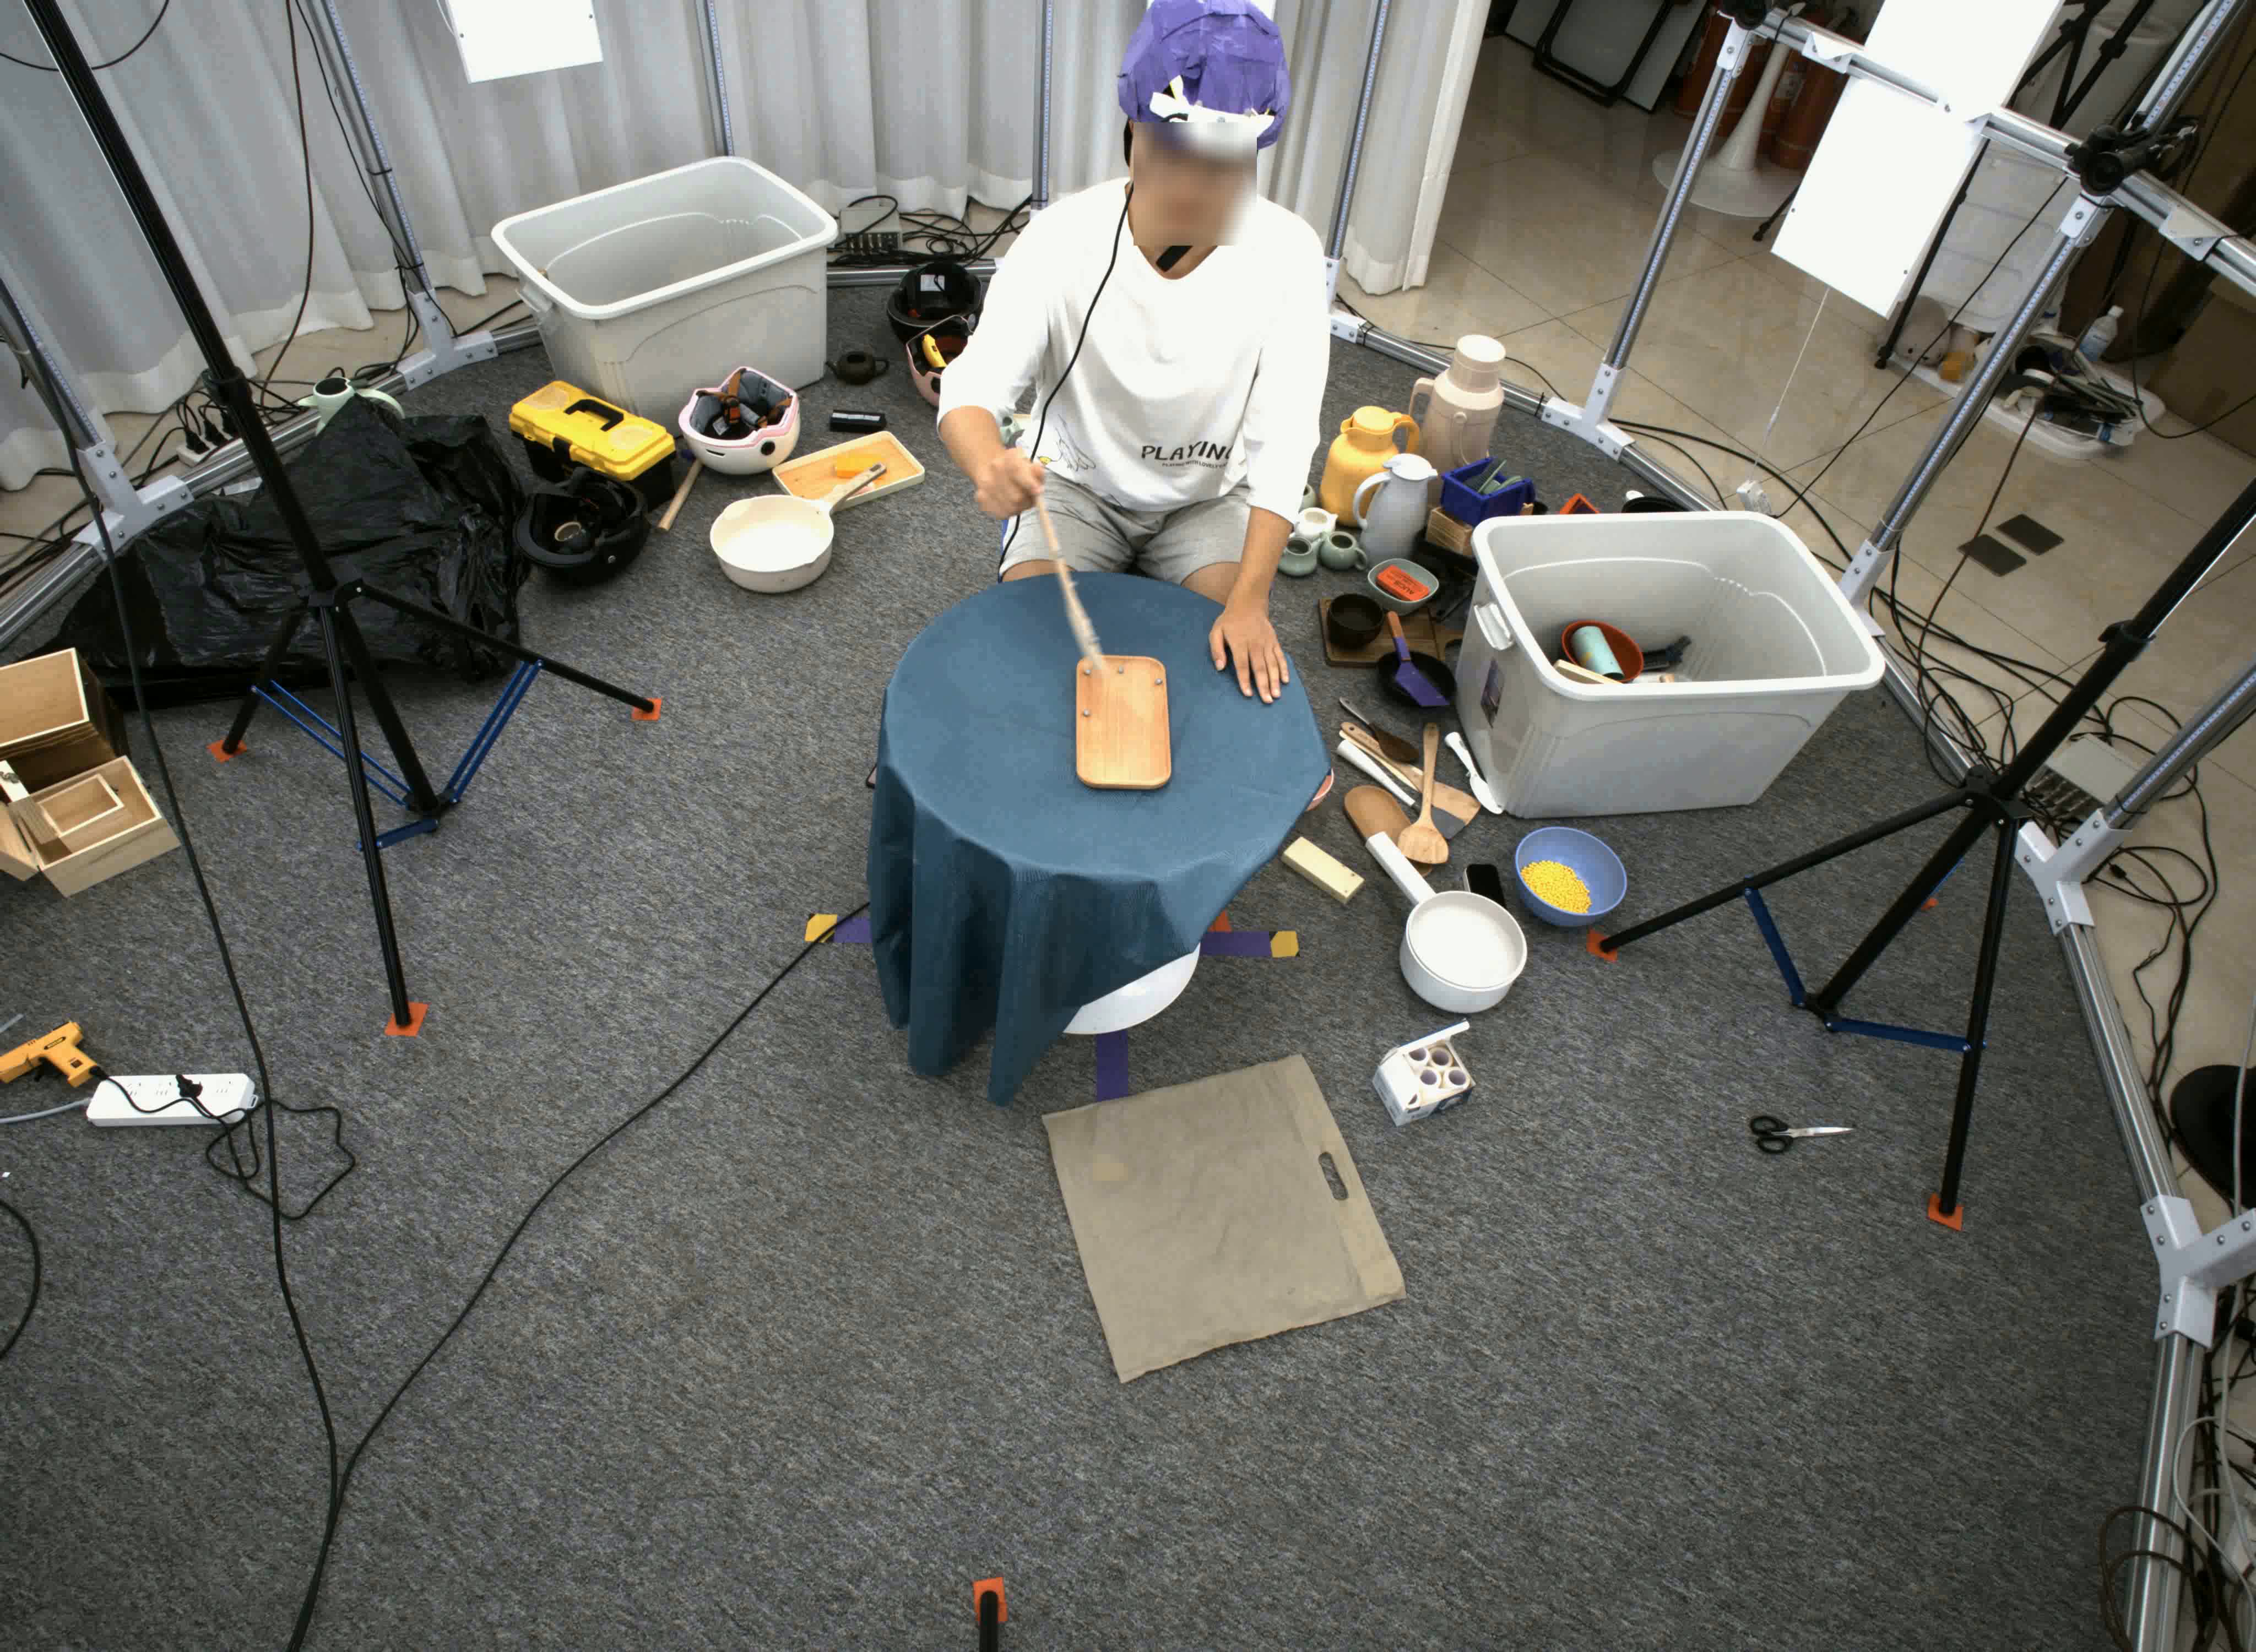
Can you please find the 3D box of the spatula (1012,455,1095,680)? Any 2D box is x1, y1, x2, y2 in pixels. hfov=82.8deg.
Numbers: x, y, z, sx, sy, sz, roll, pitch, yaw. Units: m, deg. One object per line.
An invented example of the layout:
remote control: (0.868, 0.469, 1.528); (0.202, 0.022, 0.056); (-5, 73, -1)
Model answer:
spatula: (-0.095, -0.319, 1.605); (0.010, 0.287, 0.073); (-22, 25, -9)

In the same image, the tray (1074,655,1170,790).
tray: (-0.009, -0.146, 1.780); (0.130, 0.022, 0.257); (1, 49, 0)
